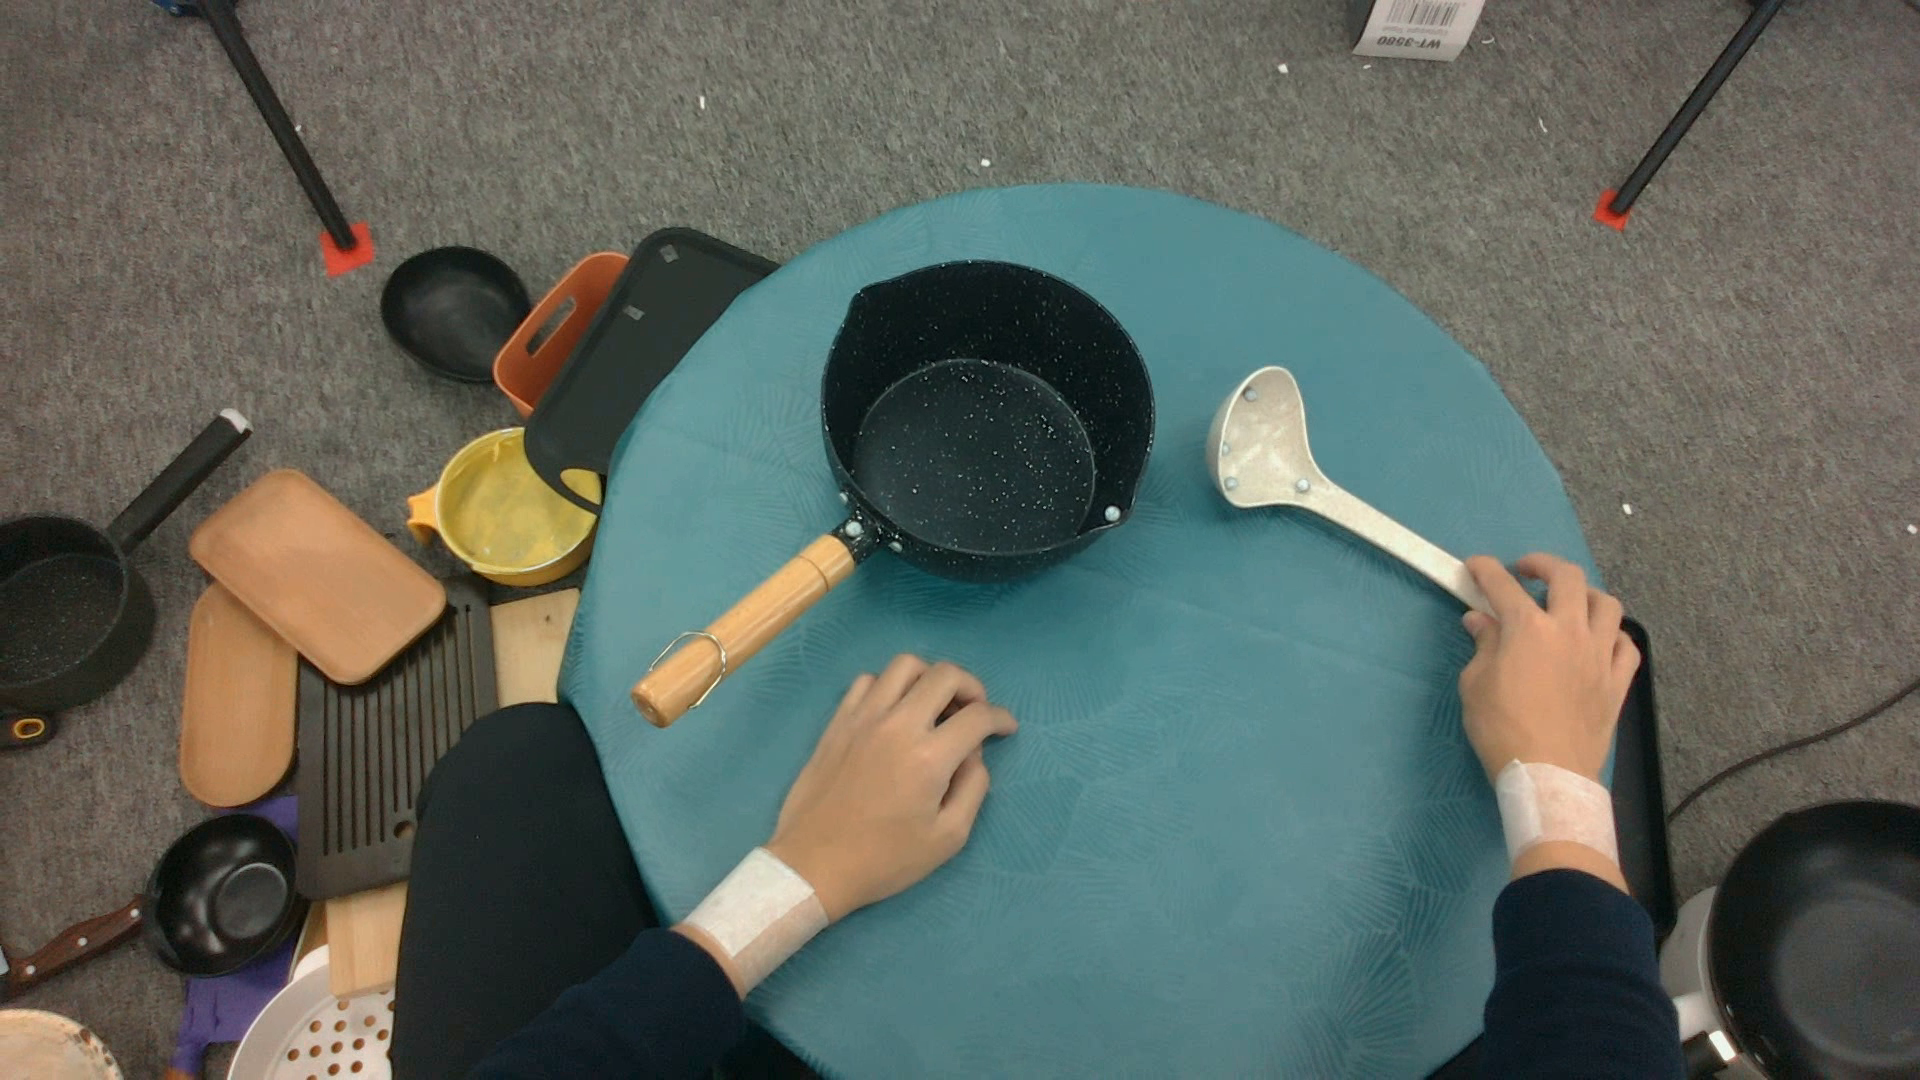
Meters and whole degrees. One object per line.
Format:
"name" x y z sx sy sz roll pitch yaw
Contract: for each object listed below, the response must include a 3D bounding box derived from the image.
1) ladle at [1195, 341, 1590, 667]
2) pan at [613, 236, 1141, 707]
"ladle" 0.259 -0.014 0.795 0.275 0.069 0.089 34 71 6
"pan" -0.047 -0.021 0.744 0.207 0.108 0.344 40 67 10
